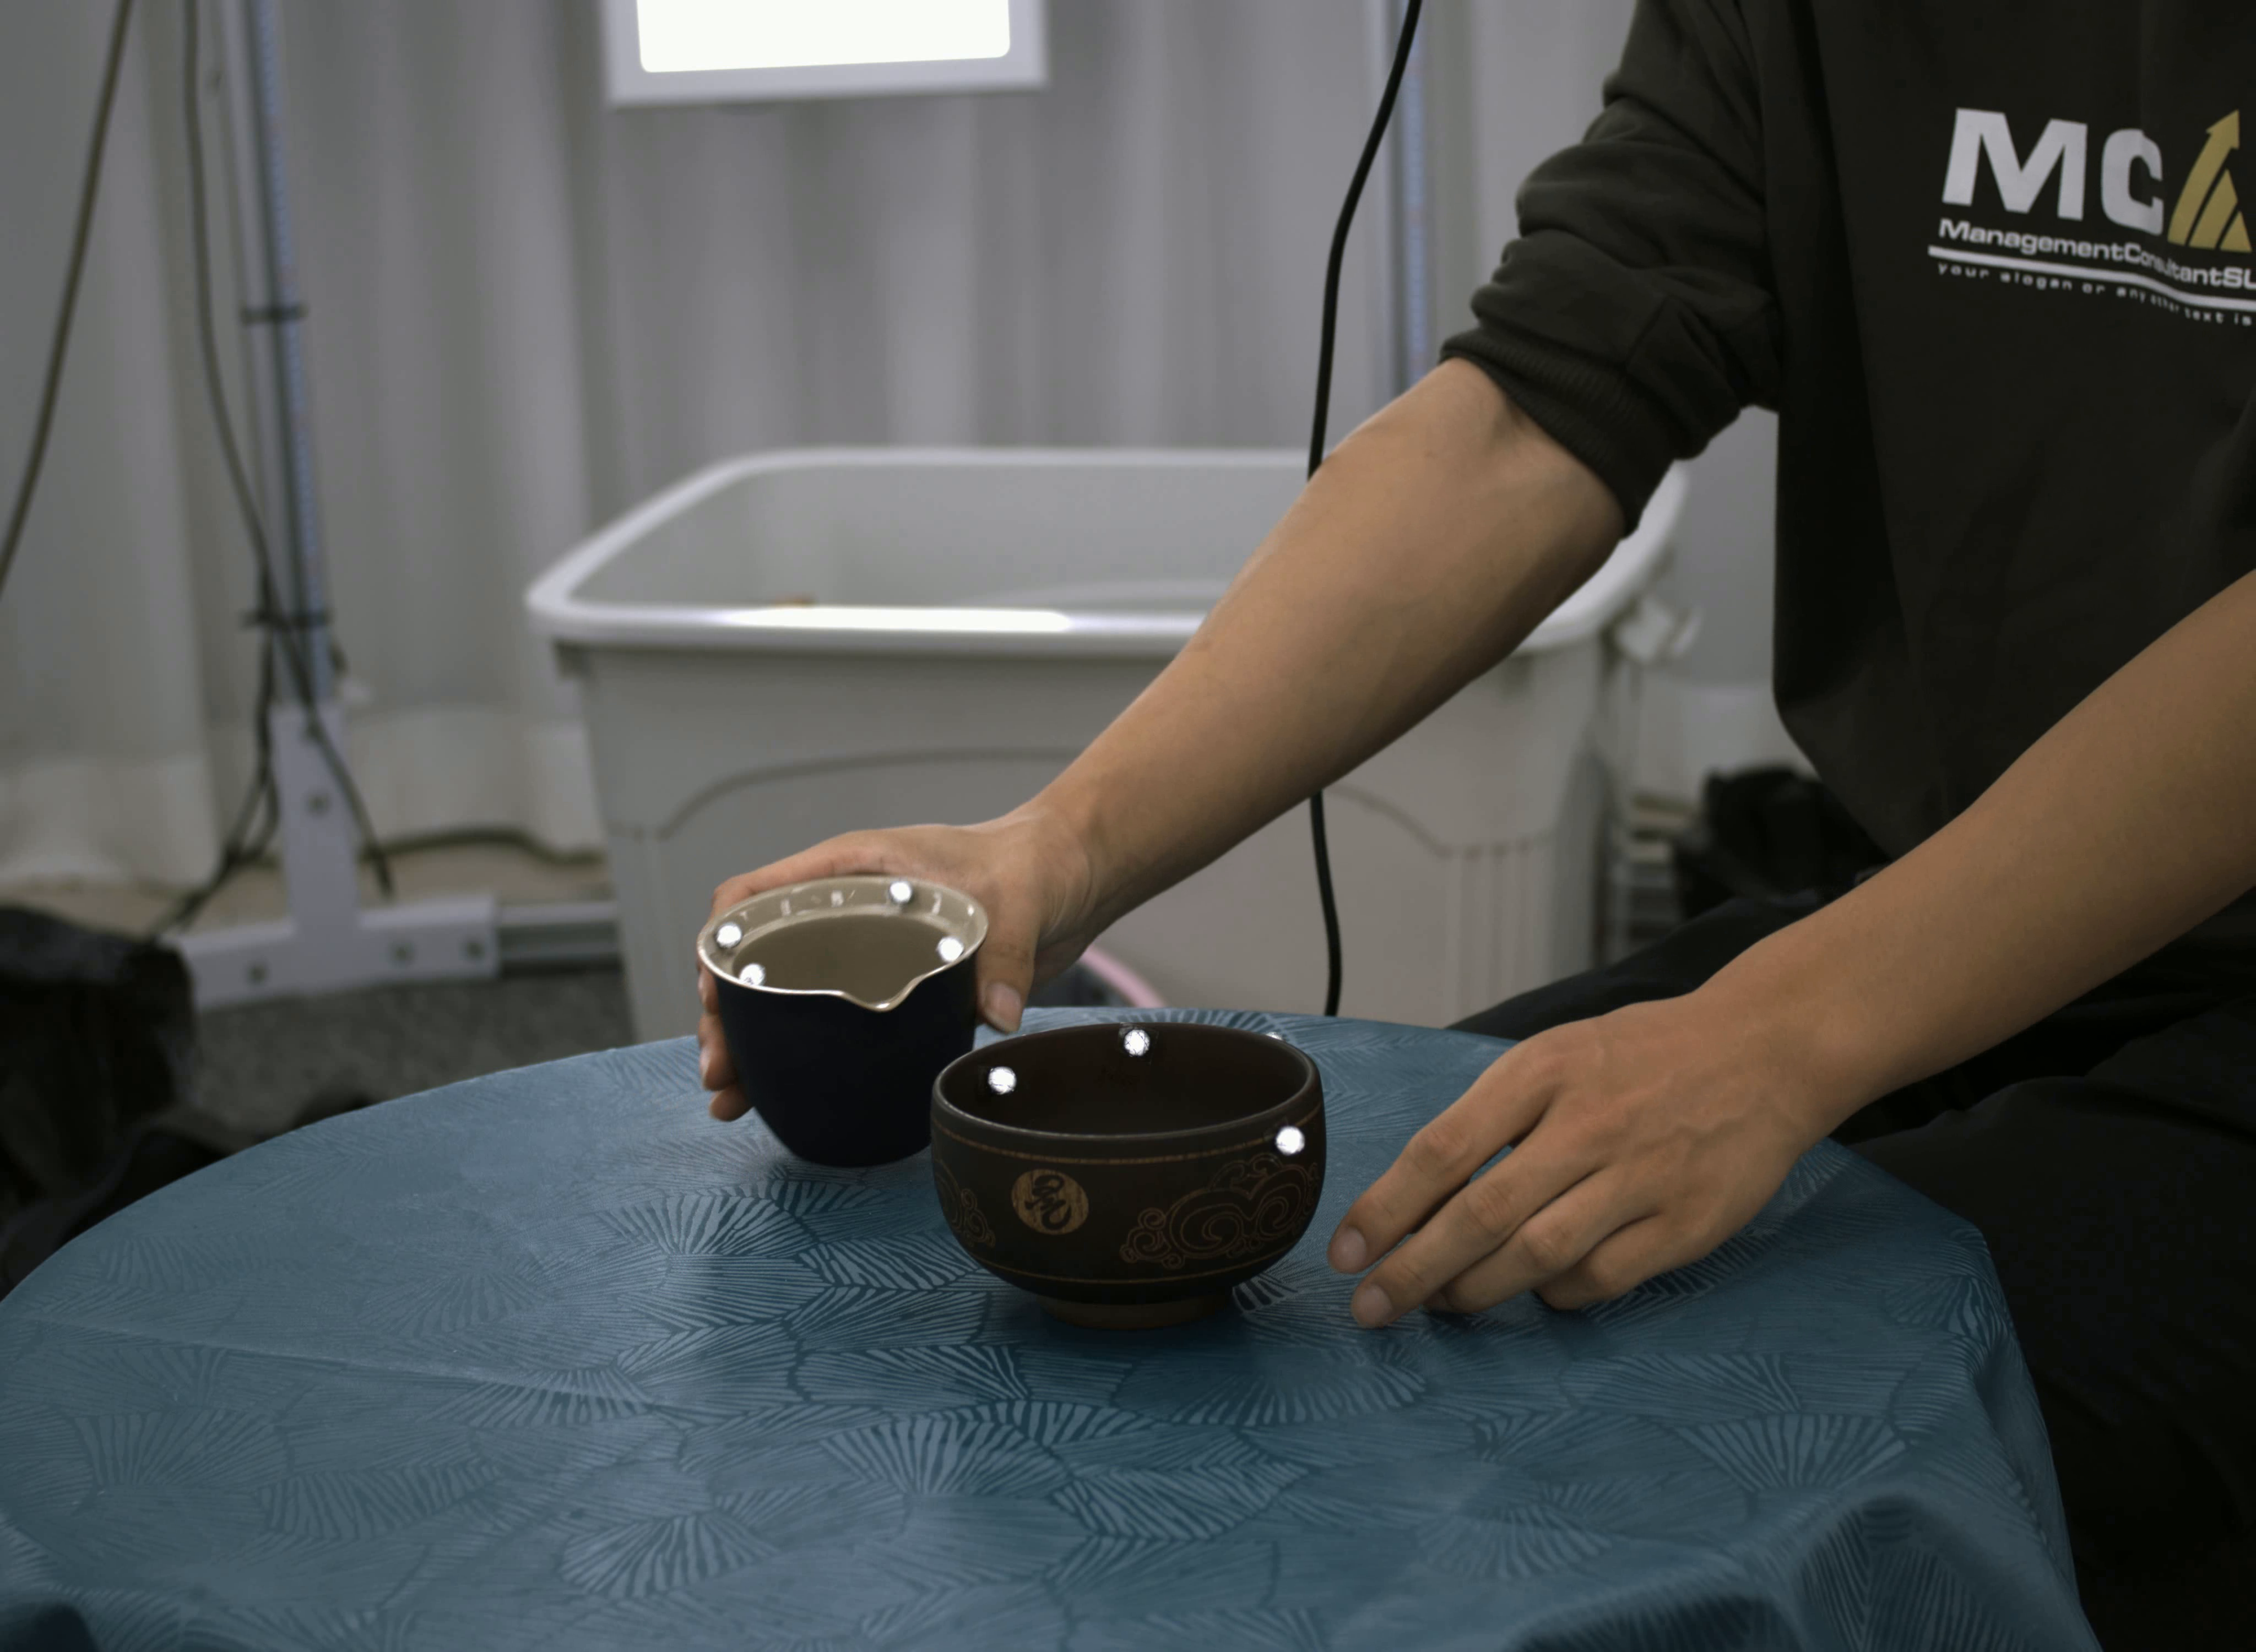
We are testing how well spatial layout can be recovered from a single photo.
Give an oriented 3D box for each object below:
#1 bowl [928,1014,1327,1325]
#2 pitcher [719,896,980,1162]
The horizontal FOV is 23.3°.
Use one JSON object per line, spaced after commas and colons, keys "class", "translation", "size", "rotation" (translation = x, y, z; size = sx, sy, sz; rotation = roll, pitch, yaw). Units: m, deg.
{"class": "bowl", "translation": [0.001, 0.105, 1.615], "size": [0.117, 0.069, 0.119], "rotation": [-4, 15, 1]}
{"class": "pitcher", "translation": [-0.087, 0.067, 1.744], "size": [0.083, 0.071, 0.097], "rotation": [-5, 21, -8]}
